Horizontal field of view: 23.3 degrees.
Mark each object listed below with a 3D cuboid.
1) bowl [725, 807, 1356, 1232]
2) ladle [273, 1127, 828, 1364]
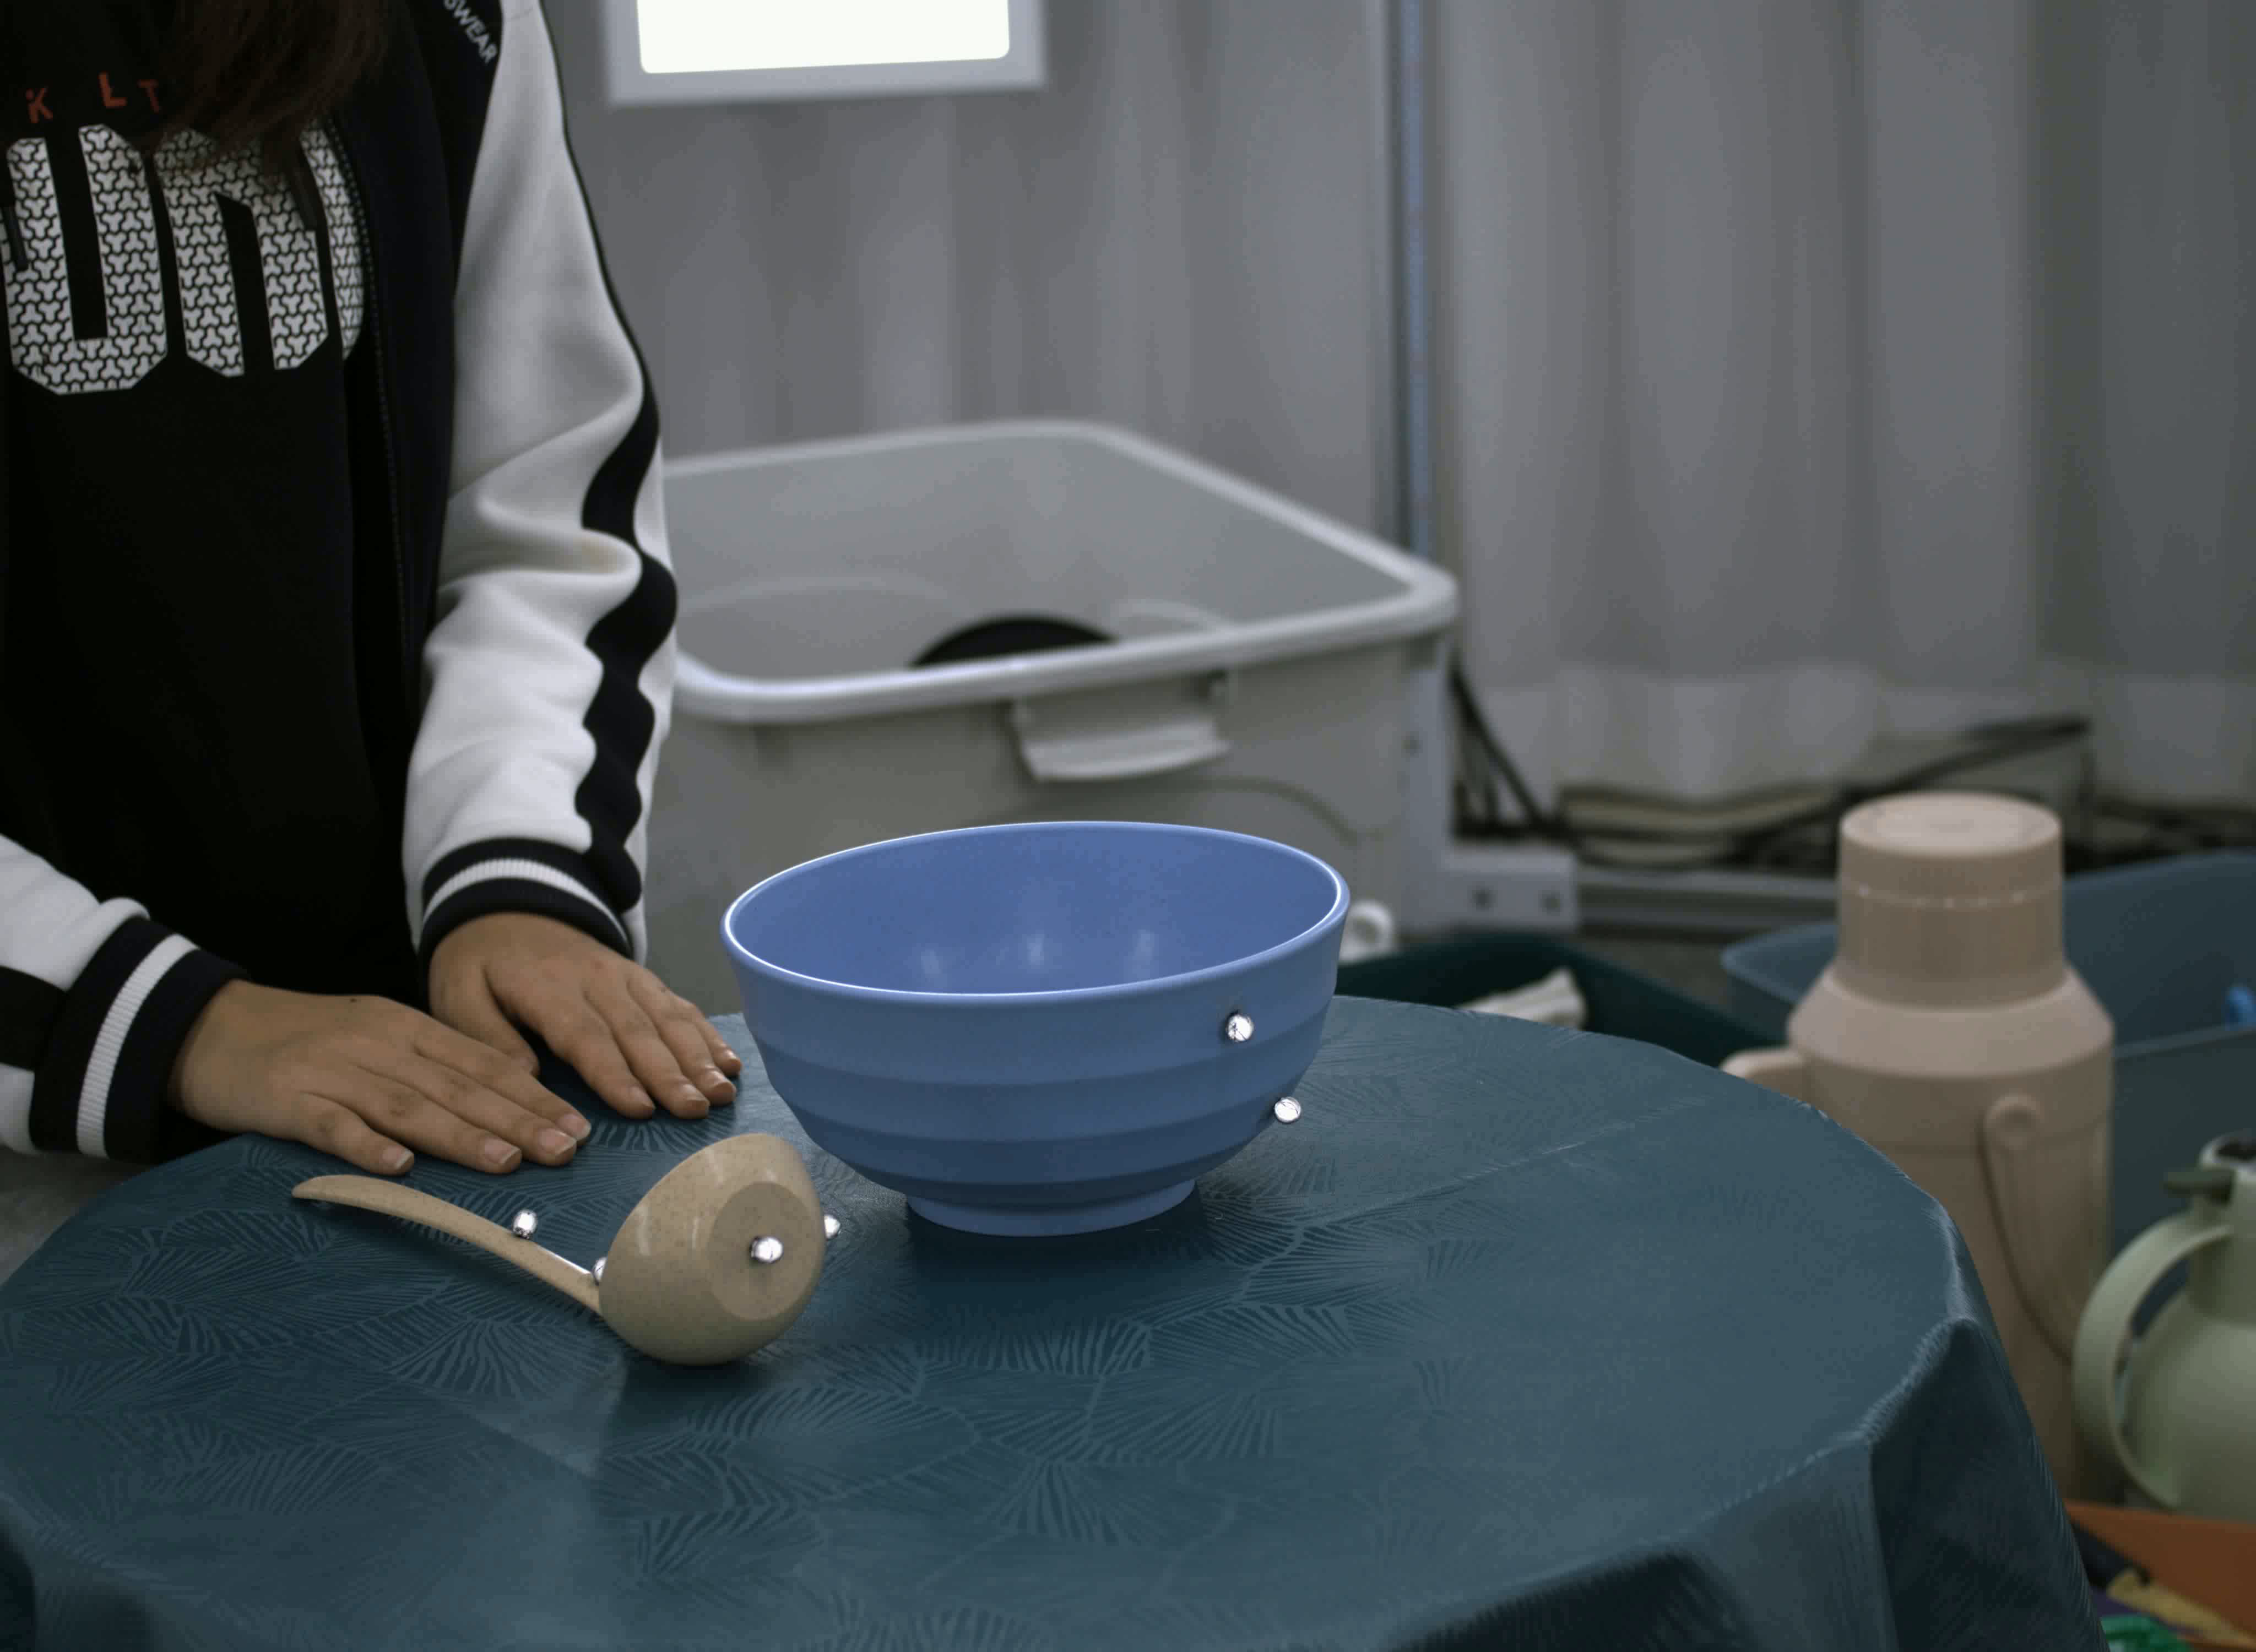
[{"bbox_3d":[-0.027,0.067,1.709,0.196,0.095,0.198,0,16,0],"label":"bowl"},{"bbox_3d":[-0.186,0.104,1.648,0.072,0.072,0.256,-14,18,-40],"label":"ladle"}]
